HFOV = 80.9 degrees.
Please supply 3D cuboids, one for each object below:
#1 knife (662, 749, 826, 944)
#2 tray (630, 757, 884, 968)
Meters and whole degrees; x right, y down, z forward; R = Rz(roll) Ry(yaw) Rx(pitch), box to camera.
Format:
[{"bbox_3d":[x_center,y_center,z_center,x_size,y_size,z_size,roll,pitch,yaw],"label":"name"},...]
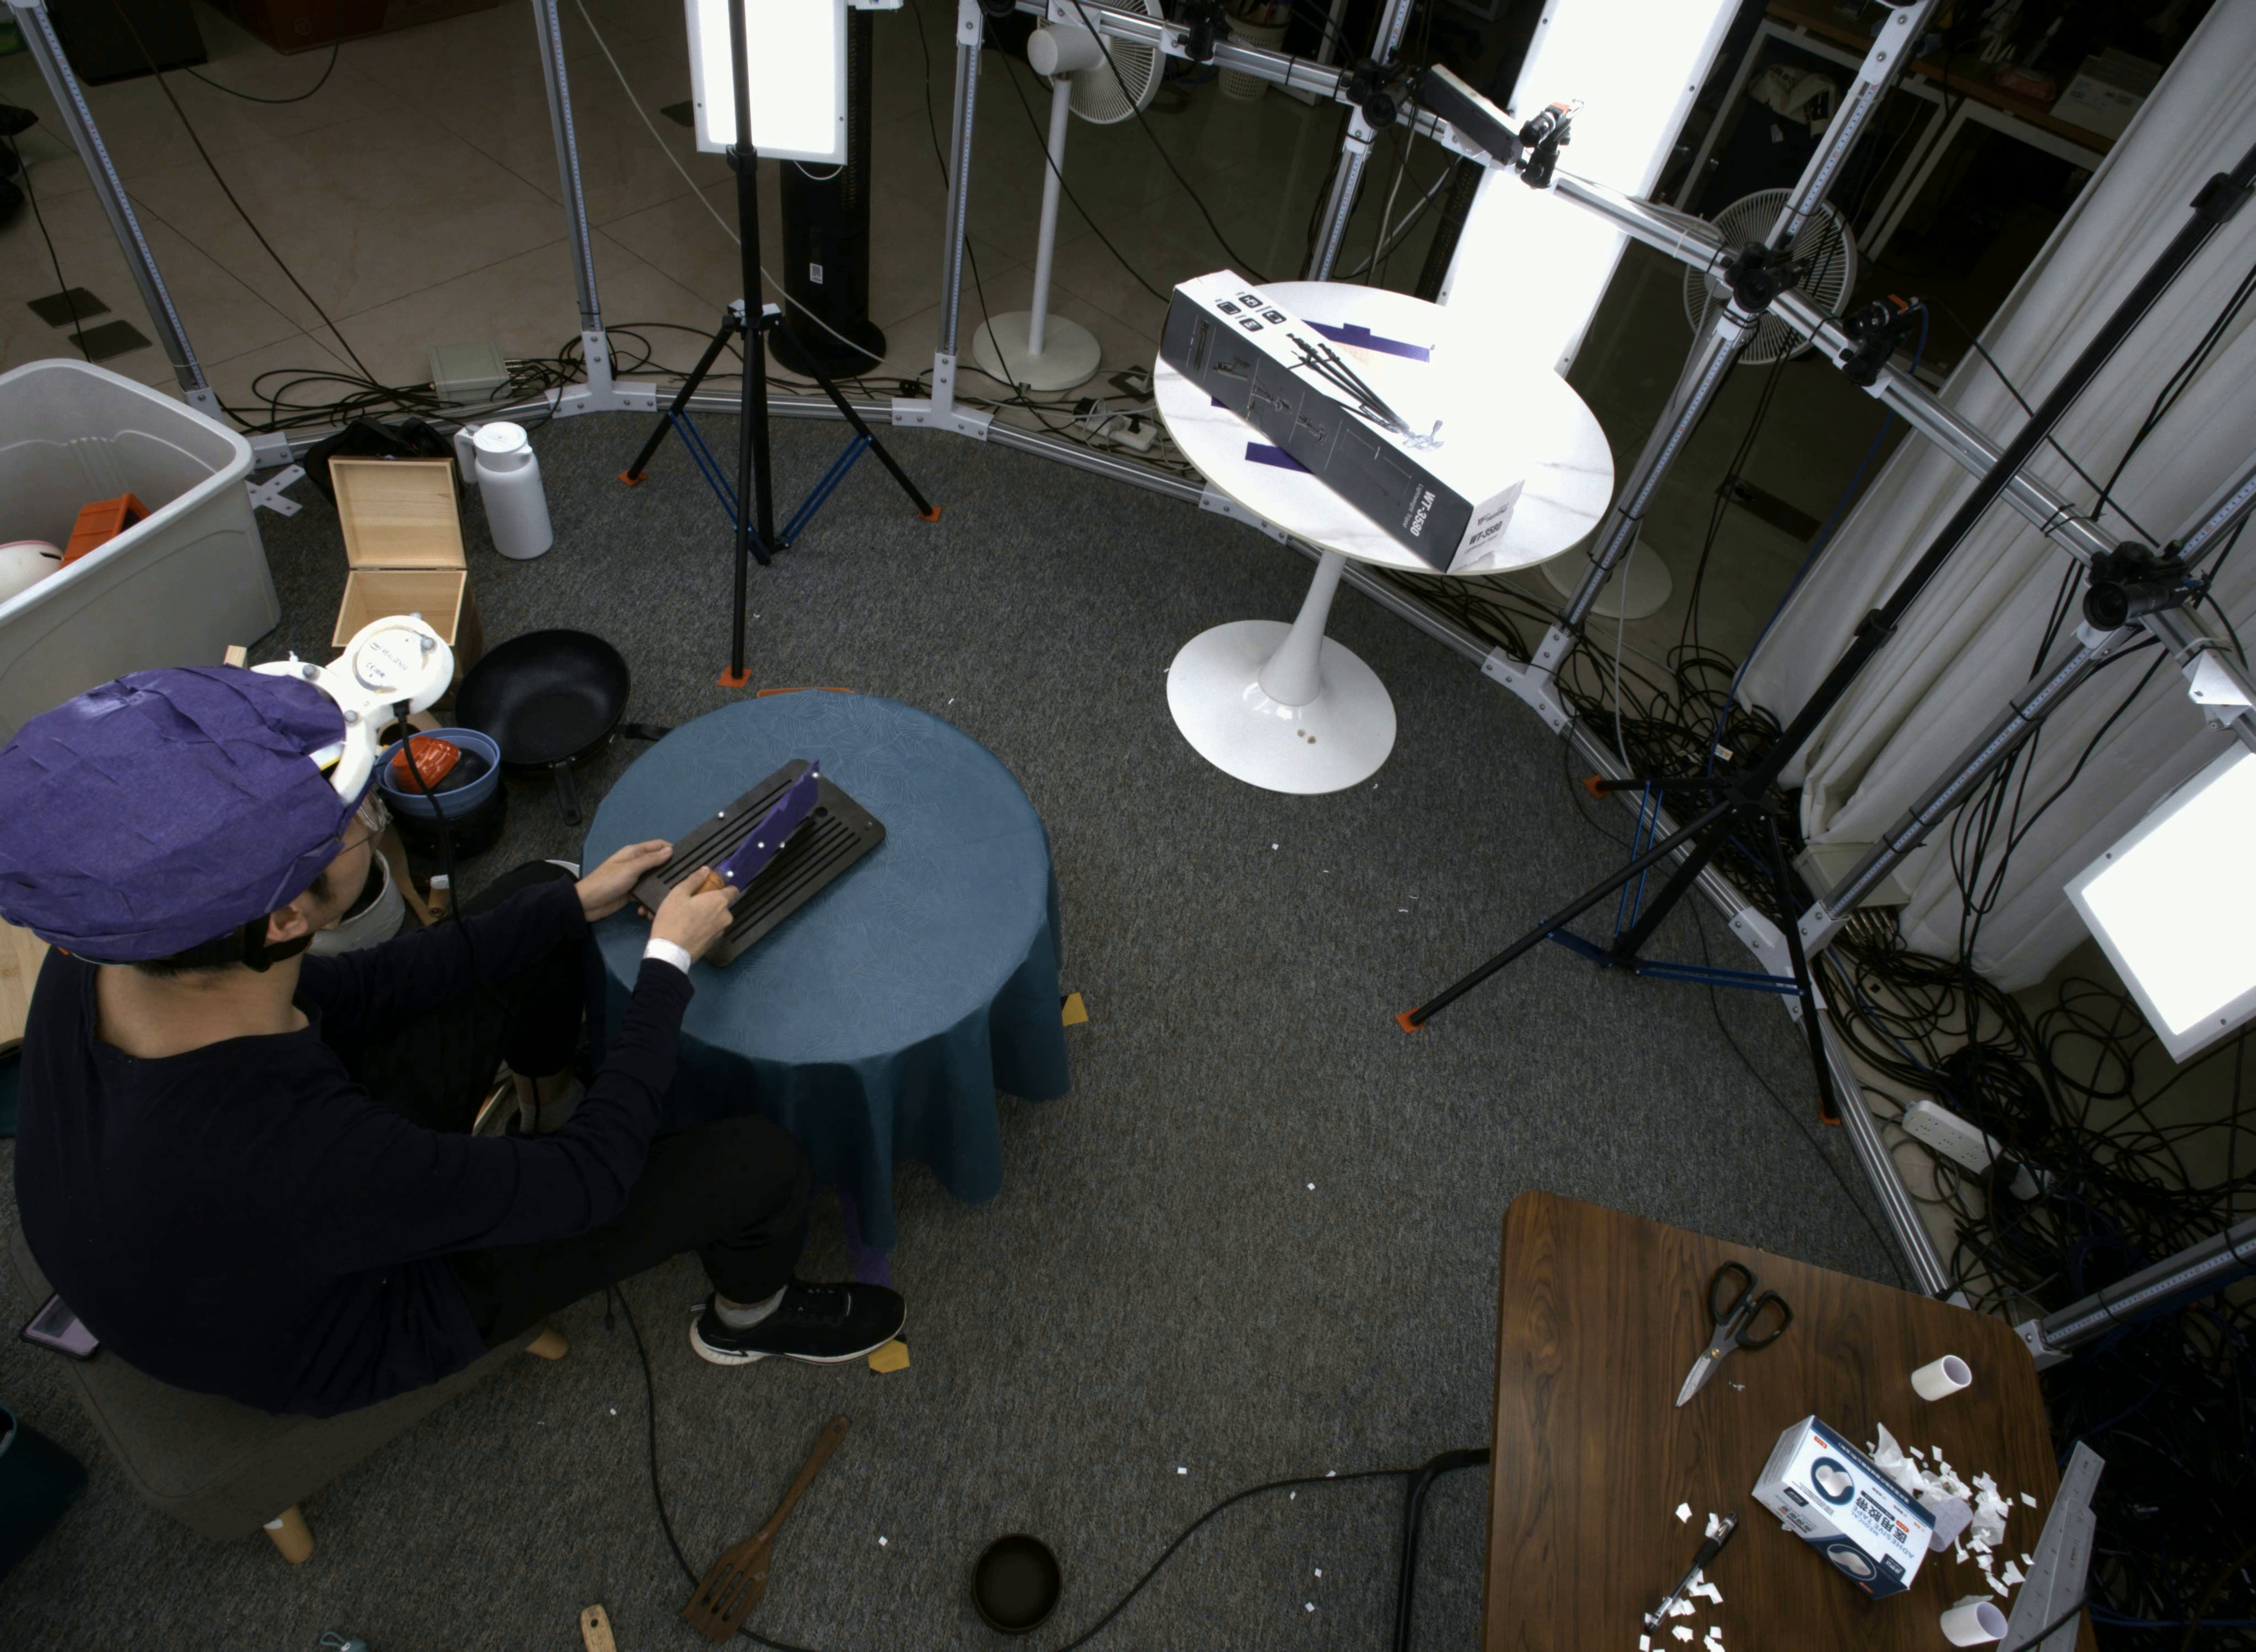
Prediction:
[{"bbox_3d":[-0.459,0.037,1.583,0.032,0.106,0.313,26,52,9],"label":"knife"},{"bbox_3d":[-0.472,0.040,1.661,0.168,0.019,0.306,39,51,8],"label":"tray"}]
